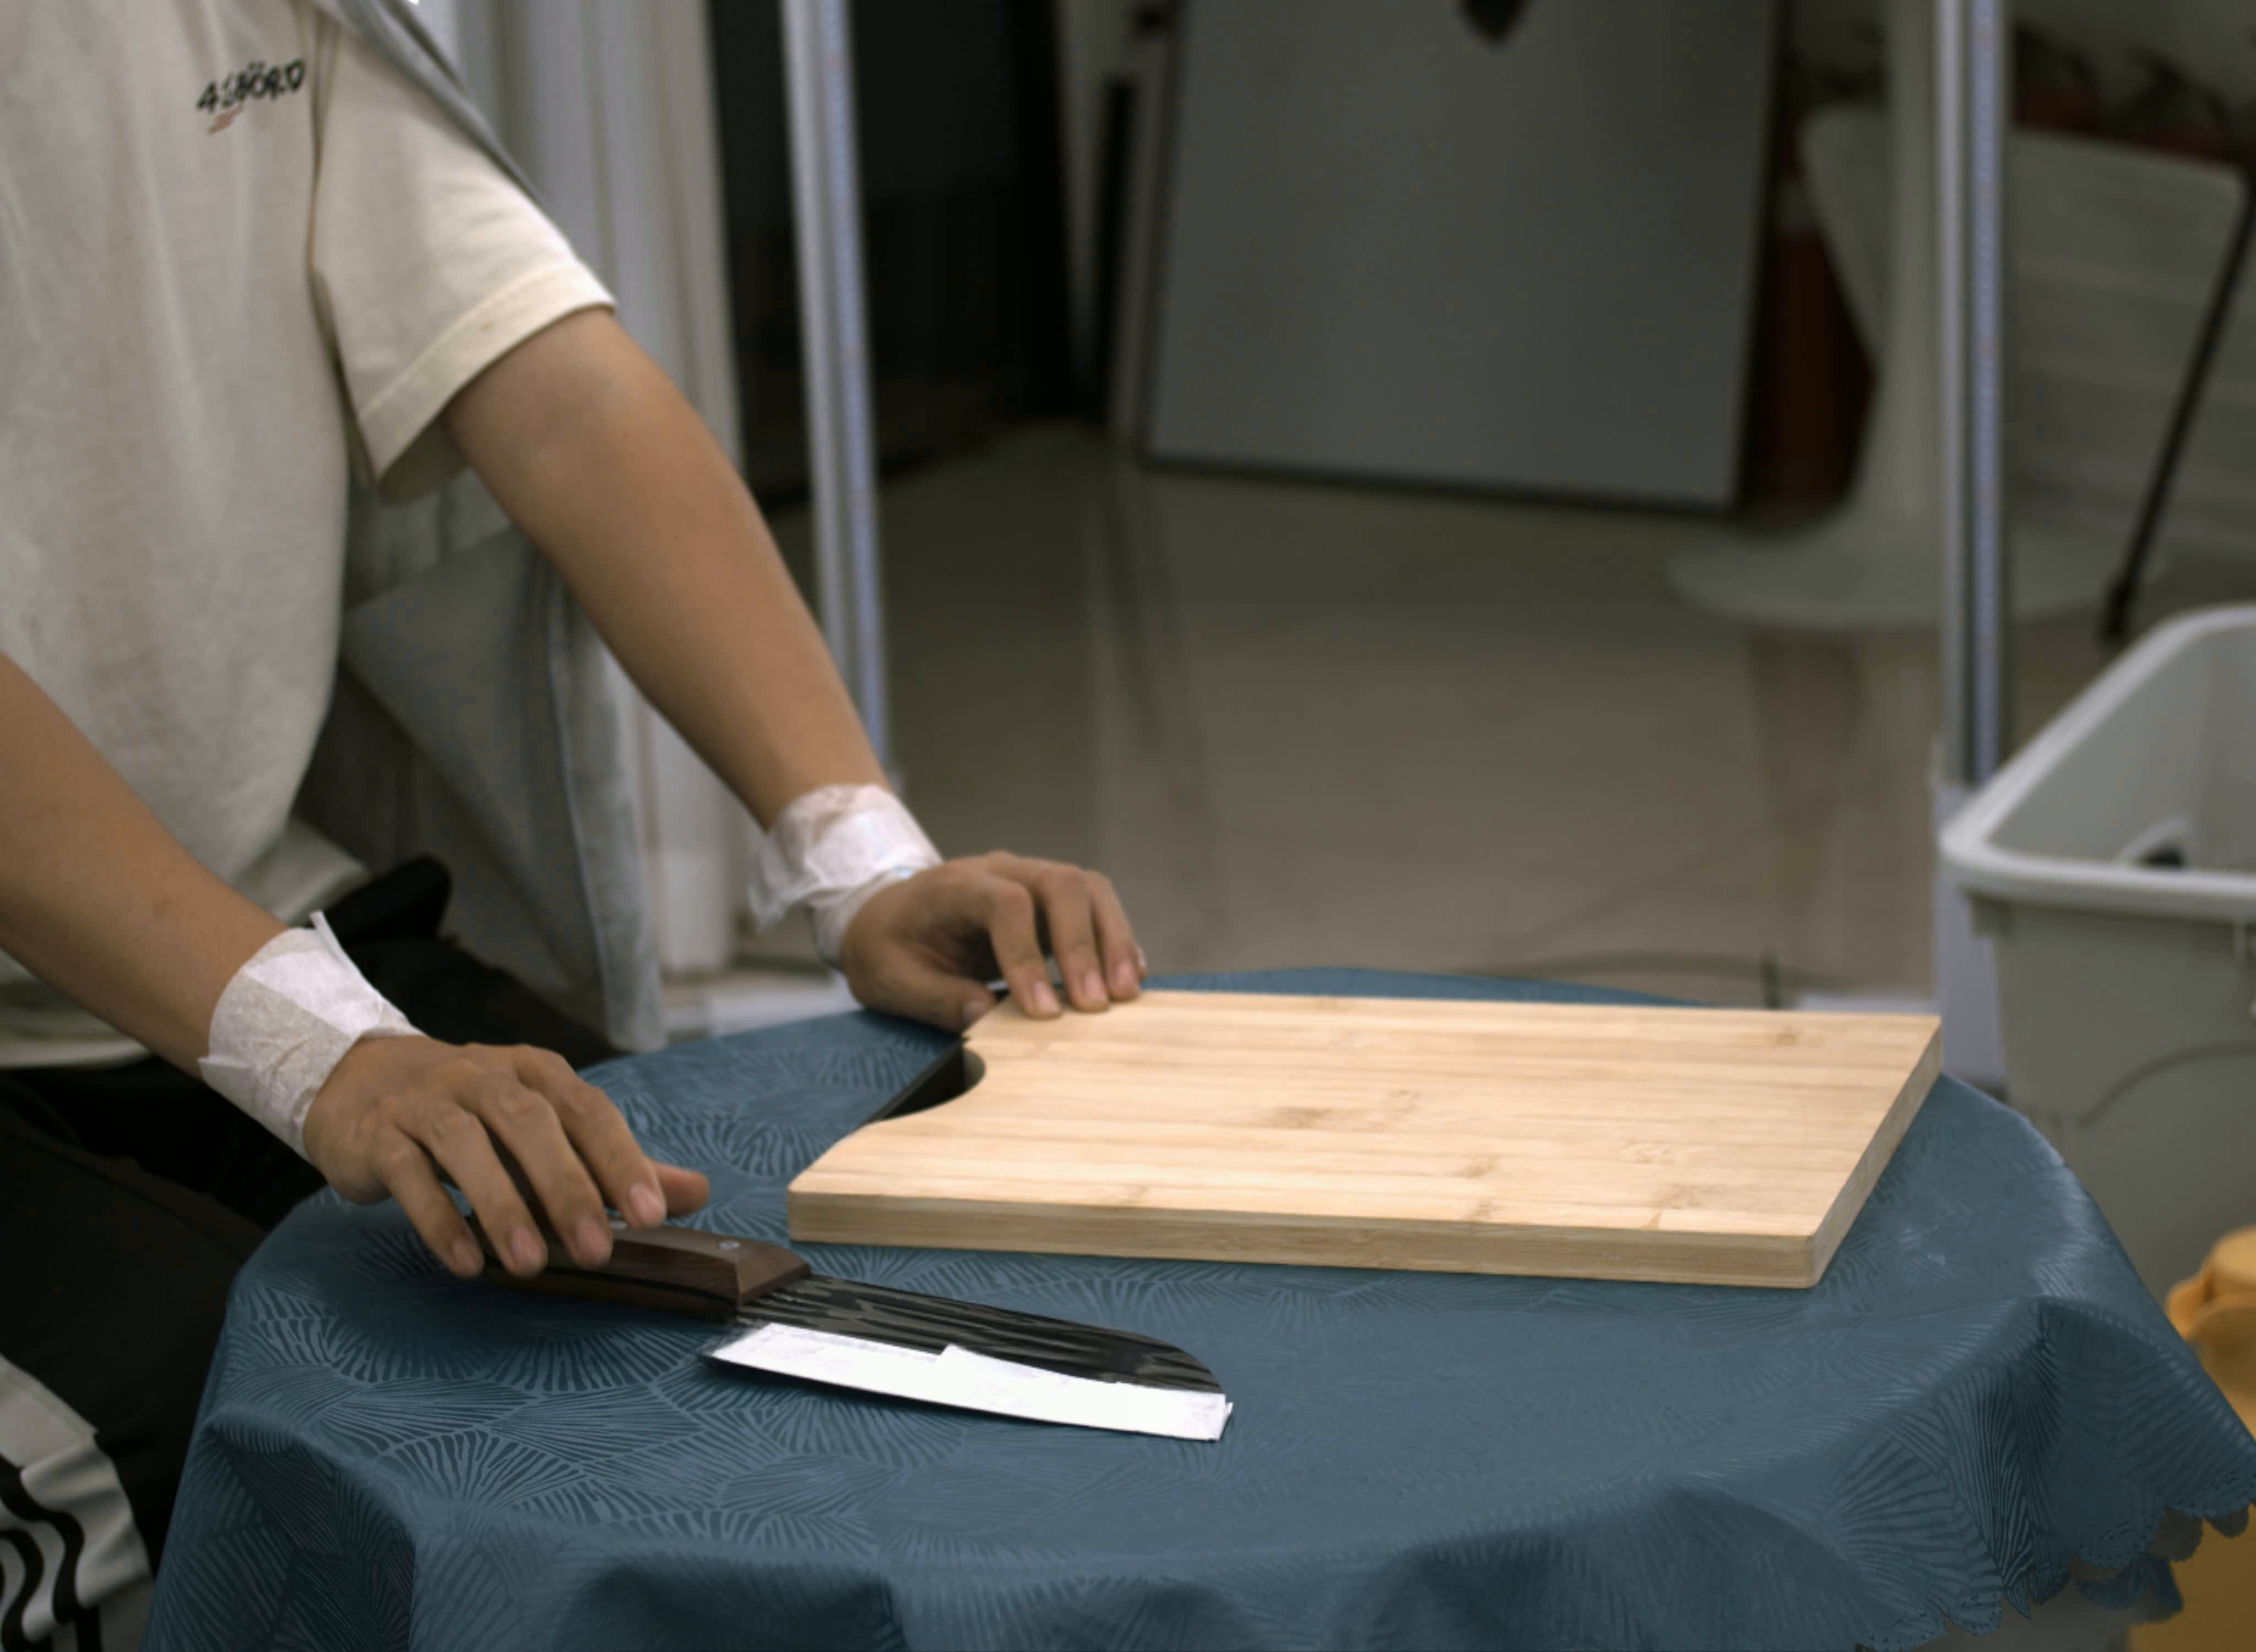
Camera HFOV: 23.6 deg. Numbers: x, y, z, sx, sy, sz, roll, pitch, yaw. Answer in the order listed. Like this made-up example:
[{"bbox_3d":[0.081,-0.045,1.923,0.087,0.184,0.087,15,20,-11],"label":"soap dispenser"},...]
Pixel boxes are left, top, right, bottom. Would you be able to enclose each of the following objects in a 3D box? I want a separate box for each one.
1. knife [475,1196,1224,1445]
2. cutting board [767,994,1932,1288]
[{"bbox_3d":[-0.092,0.152,1.636,0.301,0.024,0.067,8,21,32],"label":"knife"},{"bbox_3d":[0.080,0.102,1.798,0.348,0.024,0.248,0,14,18],"label":"cutting board"}]
